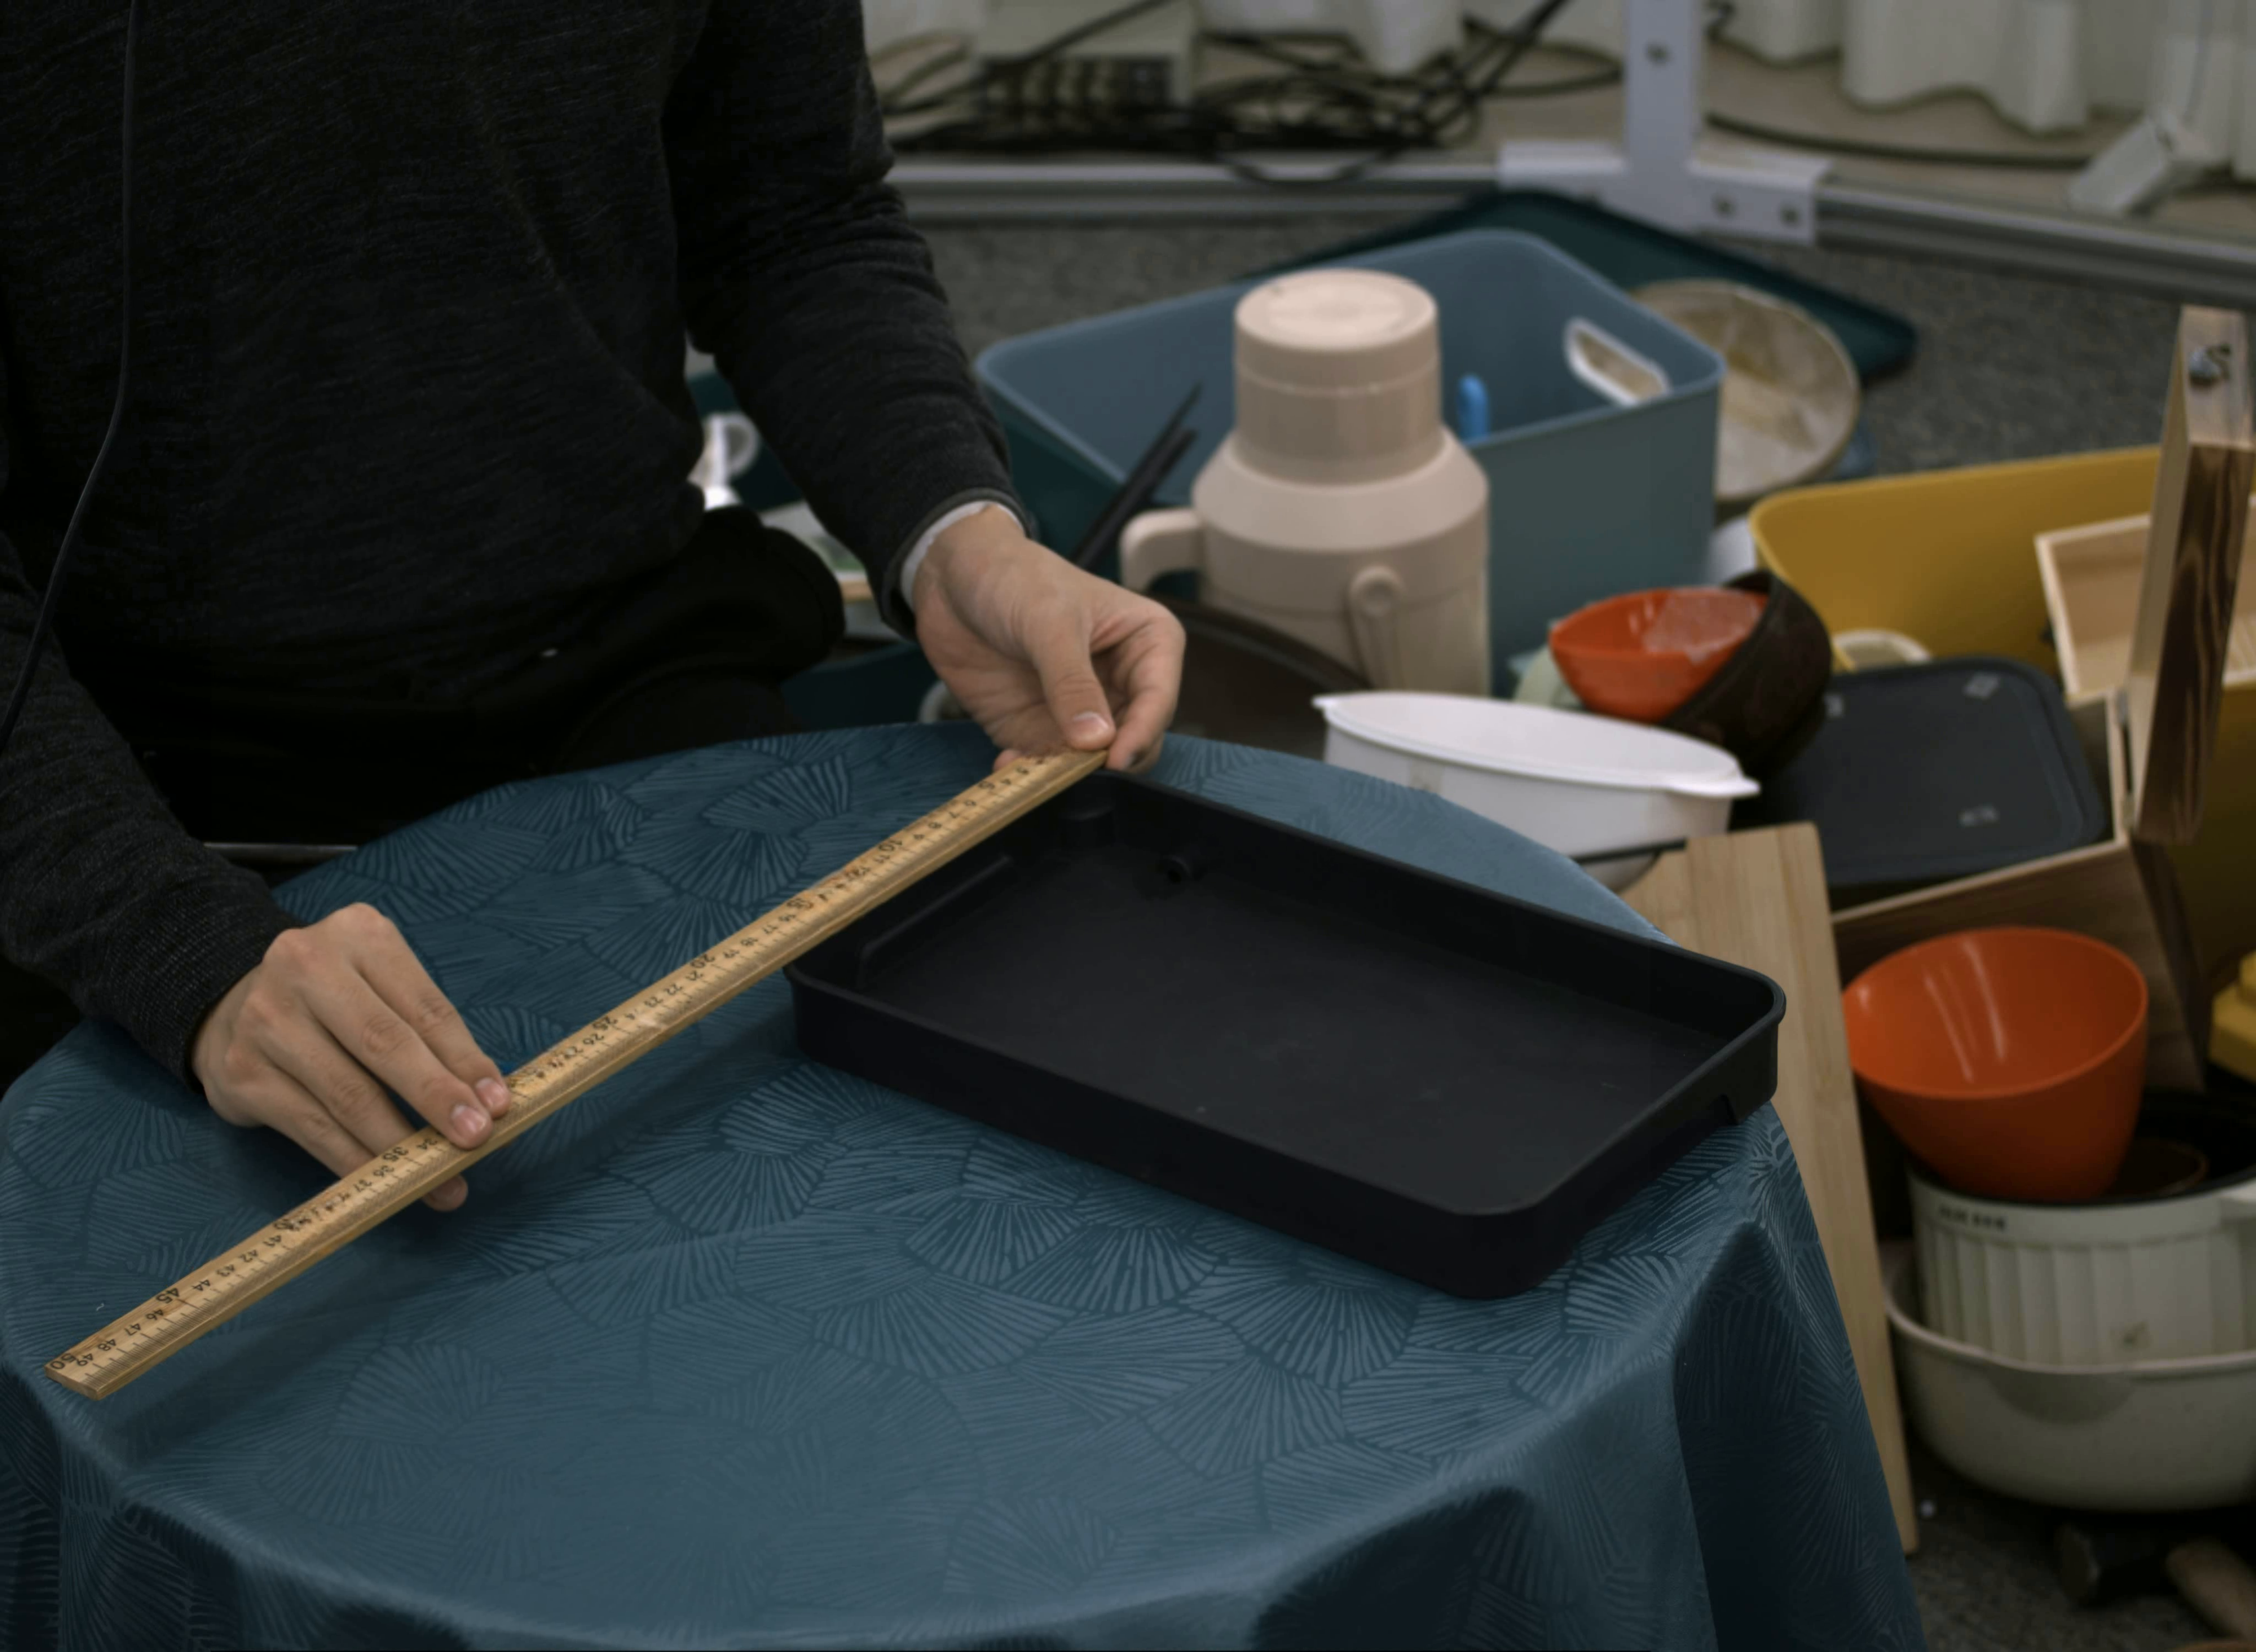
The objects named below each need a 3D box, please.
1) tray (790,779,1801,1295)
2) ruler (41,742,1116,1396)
[{"bbox_3d":[0.055,0.067,1.922,0.316,0.036,0.187,16,32,34],"label":"tray"},{"bbox_3d":[-0.170,0.071,1.899,0.026,0.006,0.507,15,33,36],"label":"ruler"}]
